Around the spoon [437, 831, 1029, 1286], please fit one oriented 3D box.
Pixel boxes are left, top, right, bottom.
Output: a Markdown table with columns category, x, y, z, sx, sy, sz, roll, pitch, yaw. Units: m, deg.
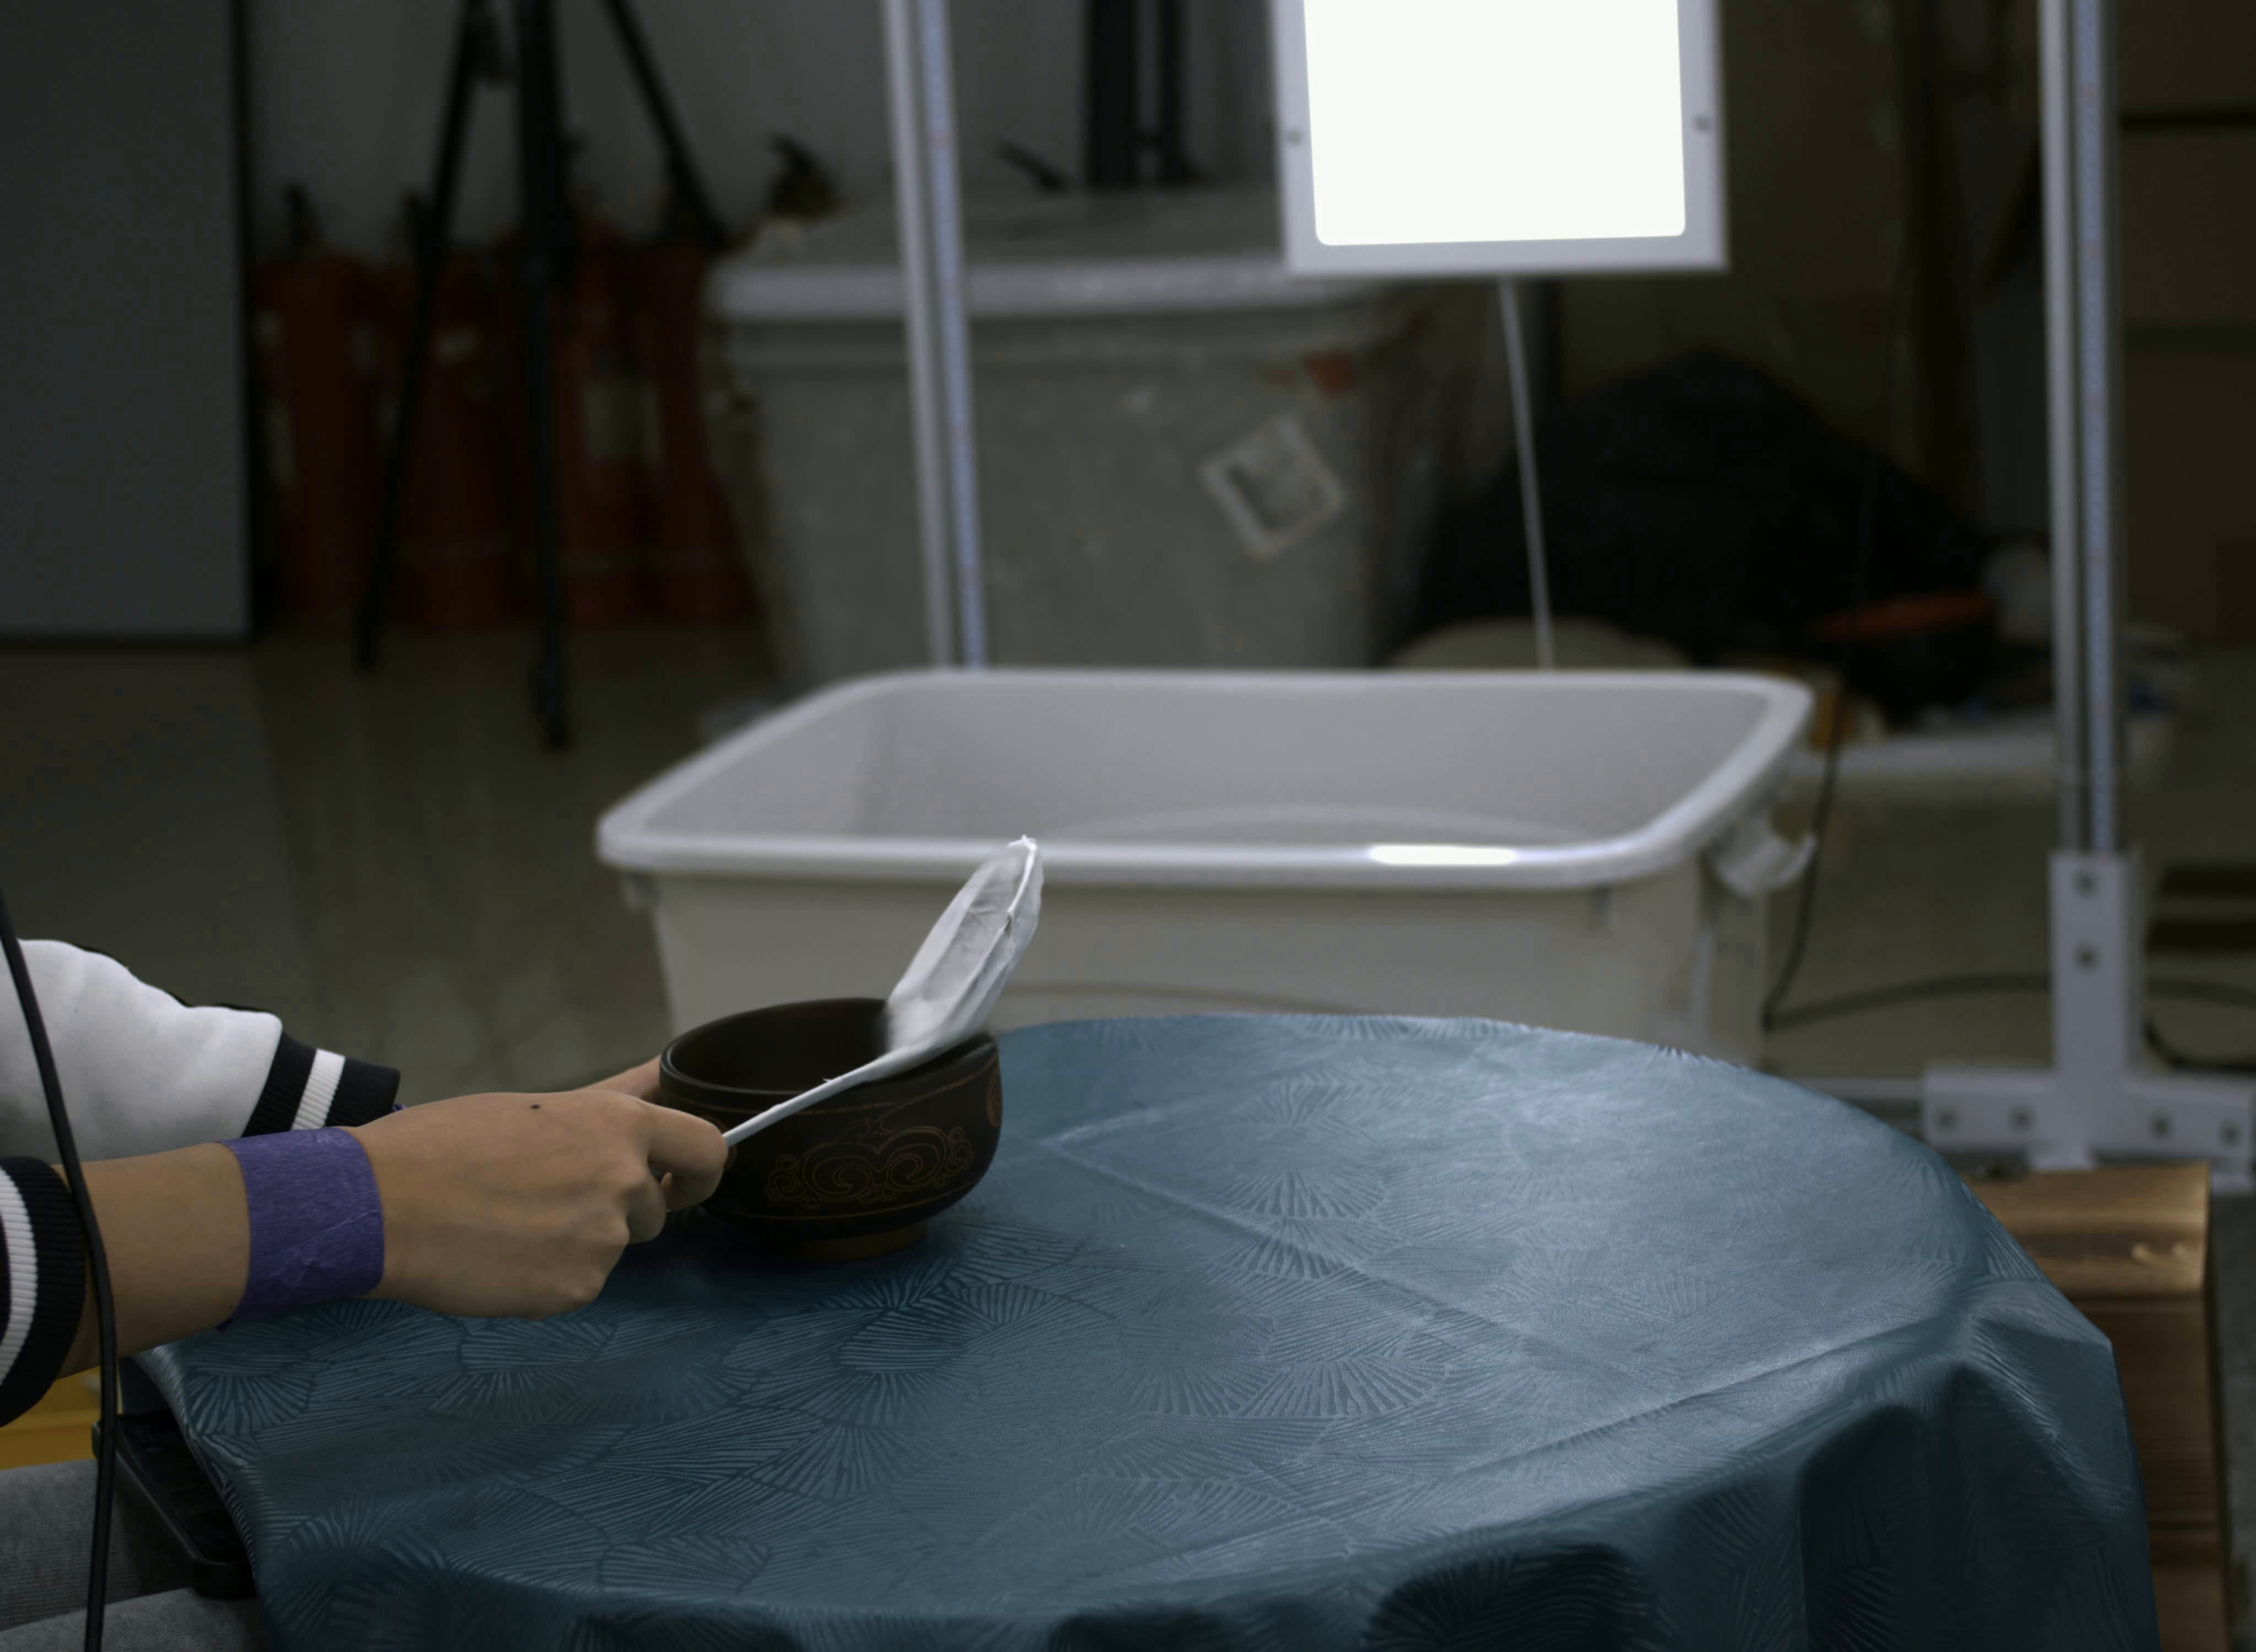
| category | x | y | z | sx | sy | sz | roll | pitch | yaw |
| --- | --- | --- | --- | --- | --- | --- | --- | --- | --- |
| spoon | -0.130 | 0.077 | 1.792 | 0.270 | 0.060 | 0.102 | -24 | -19 | -38 |

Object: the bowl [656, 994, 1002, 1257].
| category | x | y | z | sx | sy | sz | roll | pitch | yaw |
| --- | --- | --- | --- | --- | --- | --- | --- | --- | --- |
| bowl | -0.100 | 0.105 | 1.870 | 0.118 | 0.070 | 0.118 | -5 | 14 | 0 |
